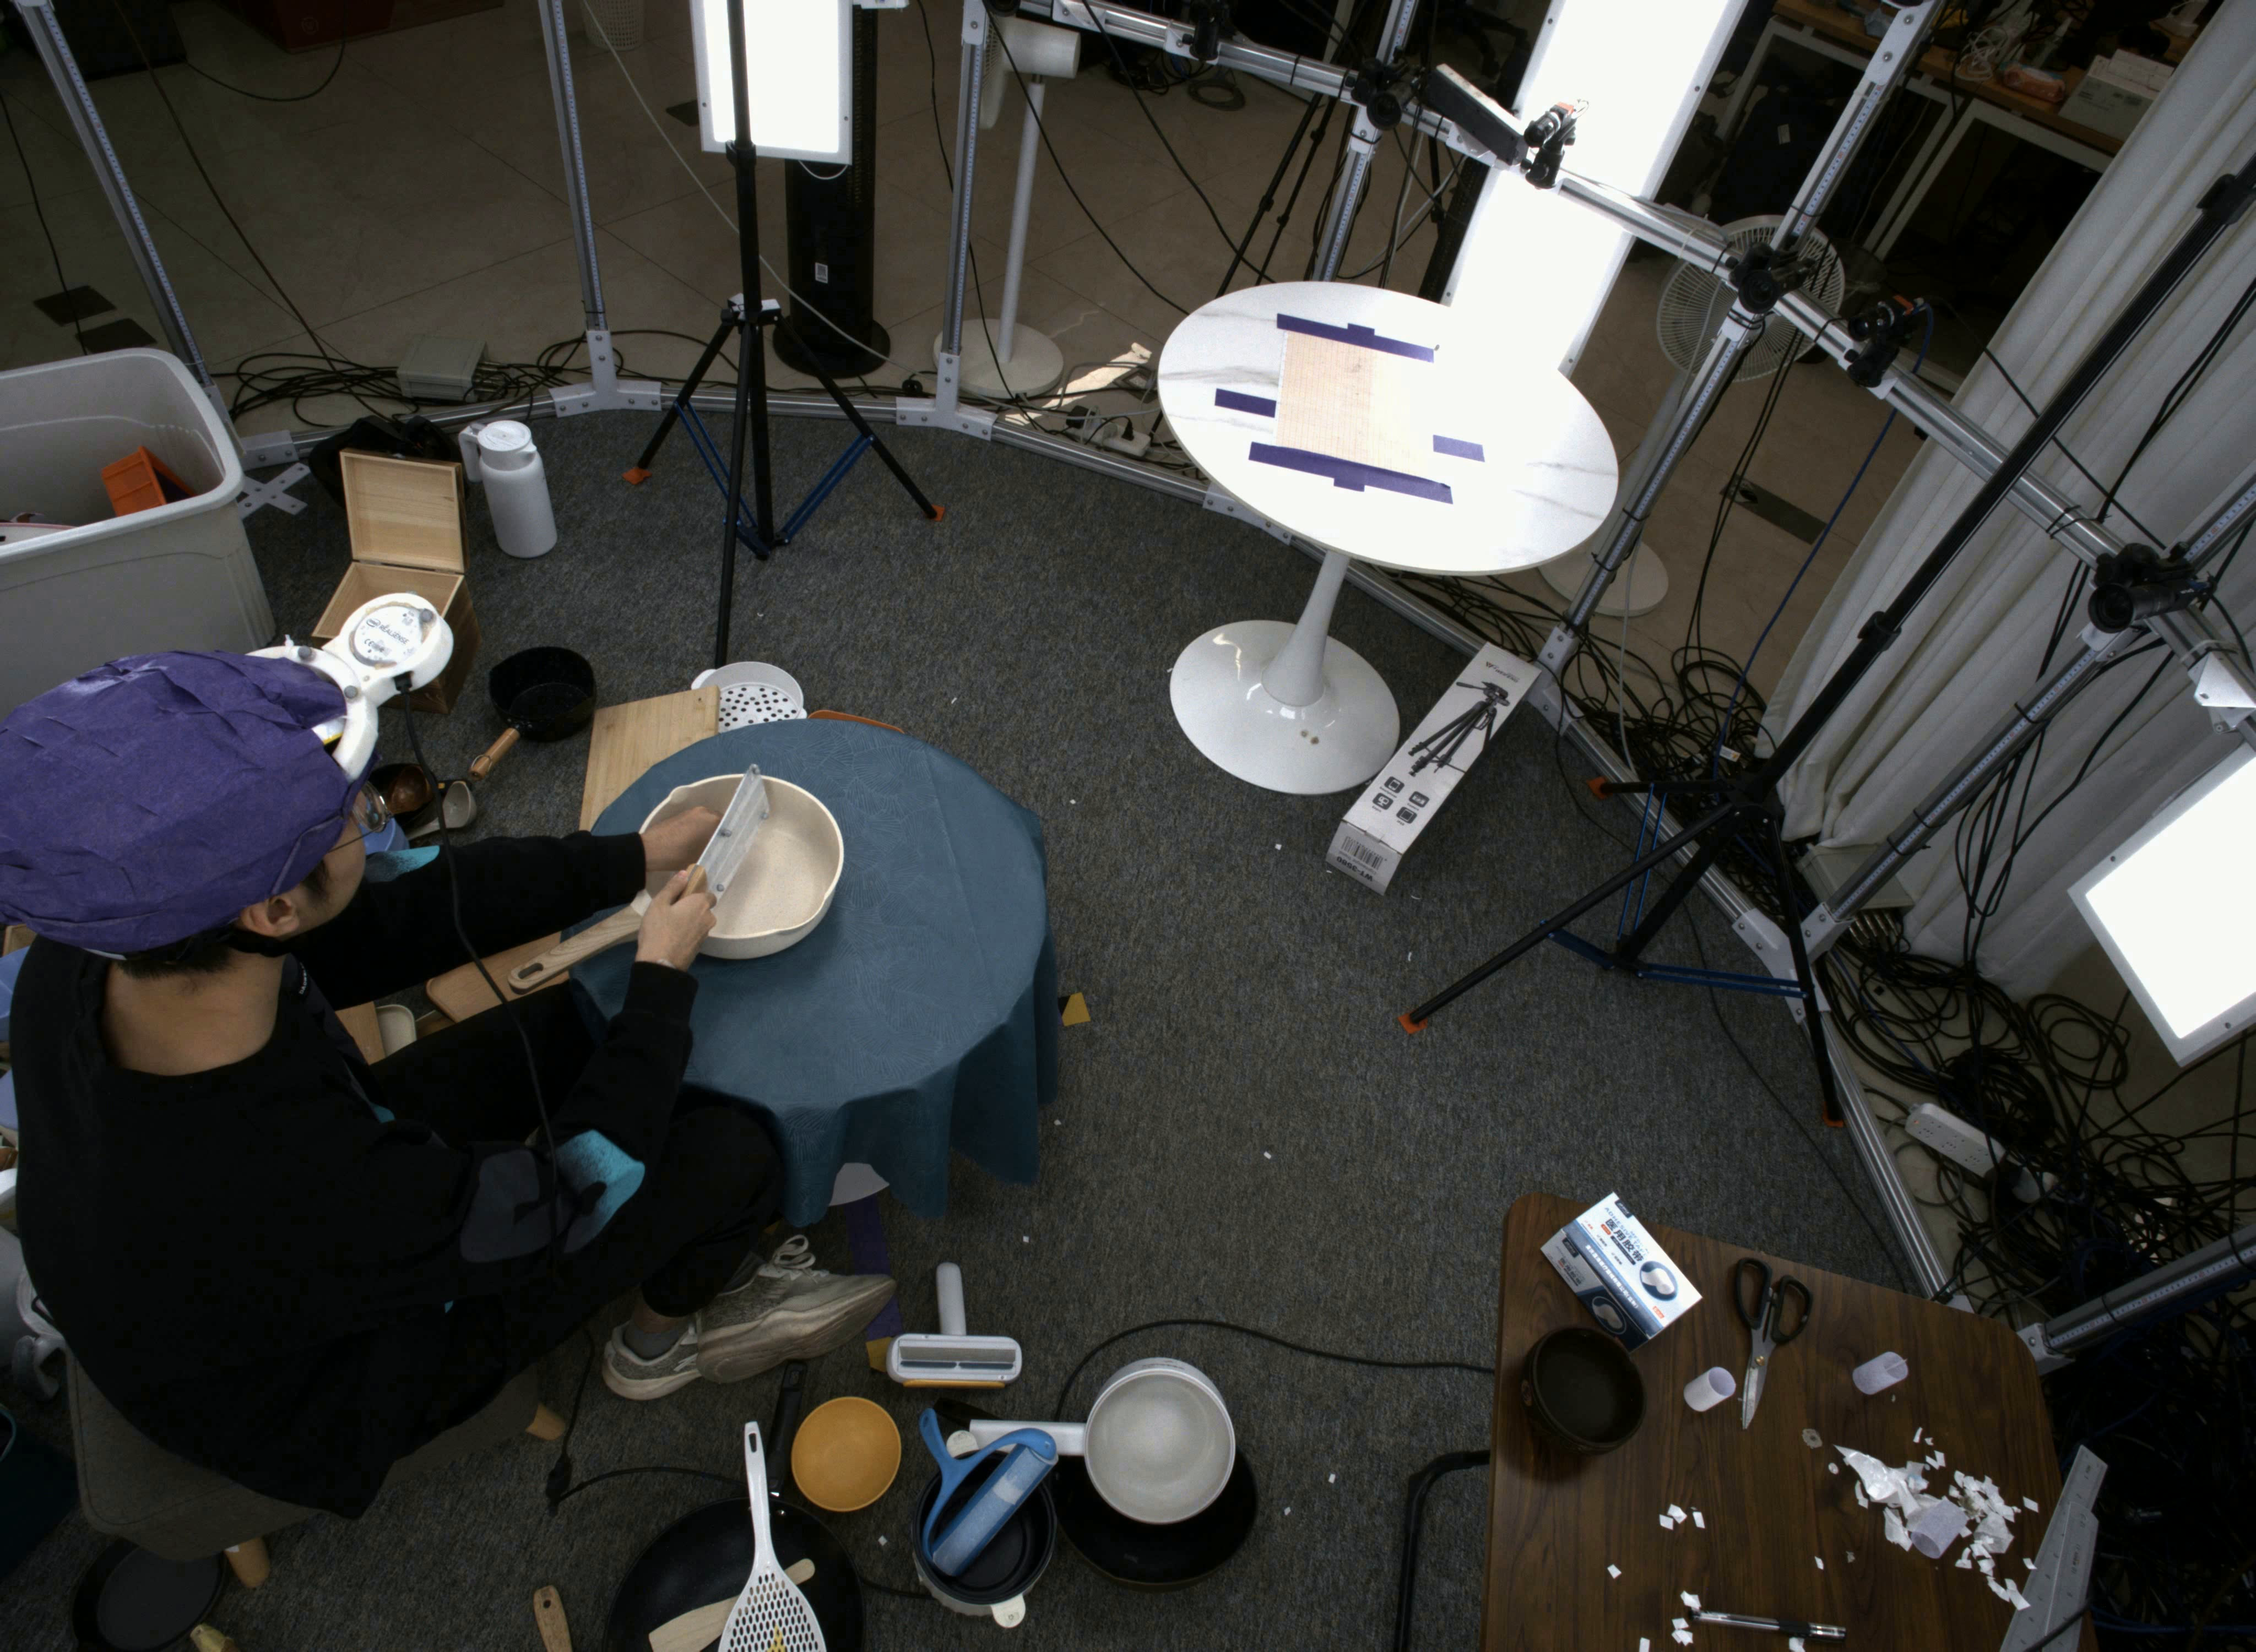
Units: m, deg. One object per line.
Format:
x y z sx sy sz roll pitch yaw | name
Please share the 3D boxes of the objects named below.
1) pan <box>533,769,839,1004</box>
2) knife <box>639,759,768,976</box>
-0.543 0.096 1.546 0.258 0.104 0.435 41 54 14 | pan
-0.484 0.046 1.488 0.021 0.117 0.311 9 43 7 | knife
